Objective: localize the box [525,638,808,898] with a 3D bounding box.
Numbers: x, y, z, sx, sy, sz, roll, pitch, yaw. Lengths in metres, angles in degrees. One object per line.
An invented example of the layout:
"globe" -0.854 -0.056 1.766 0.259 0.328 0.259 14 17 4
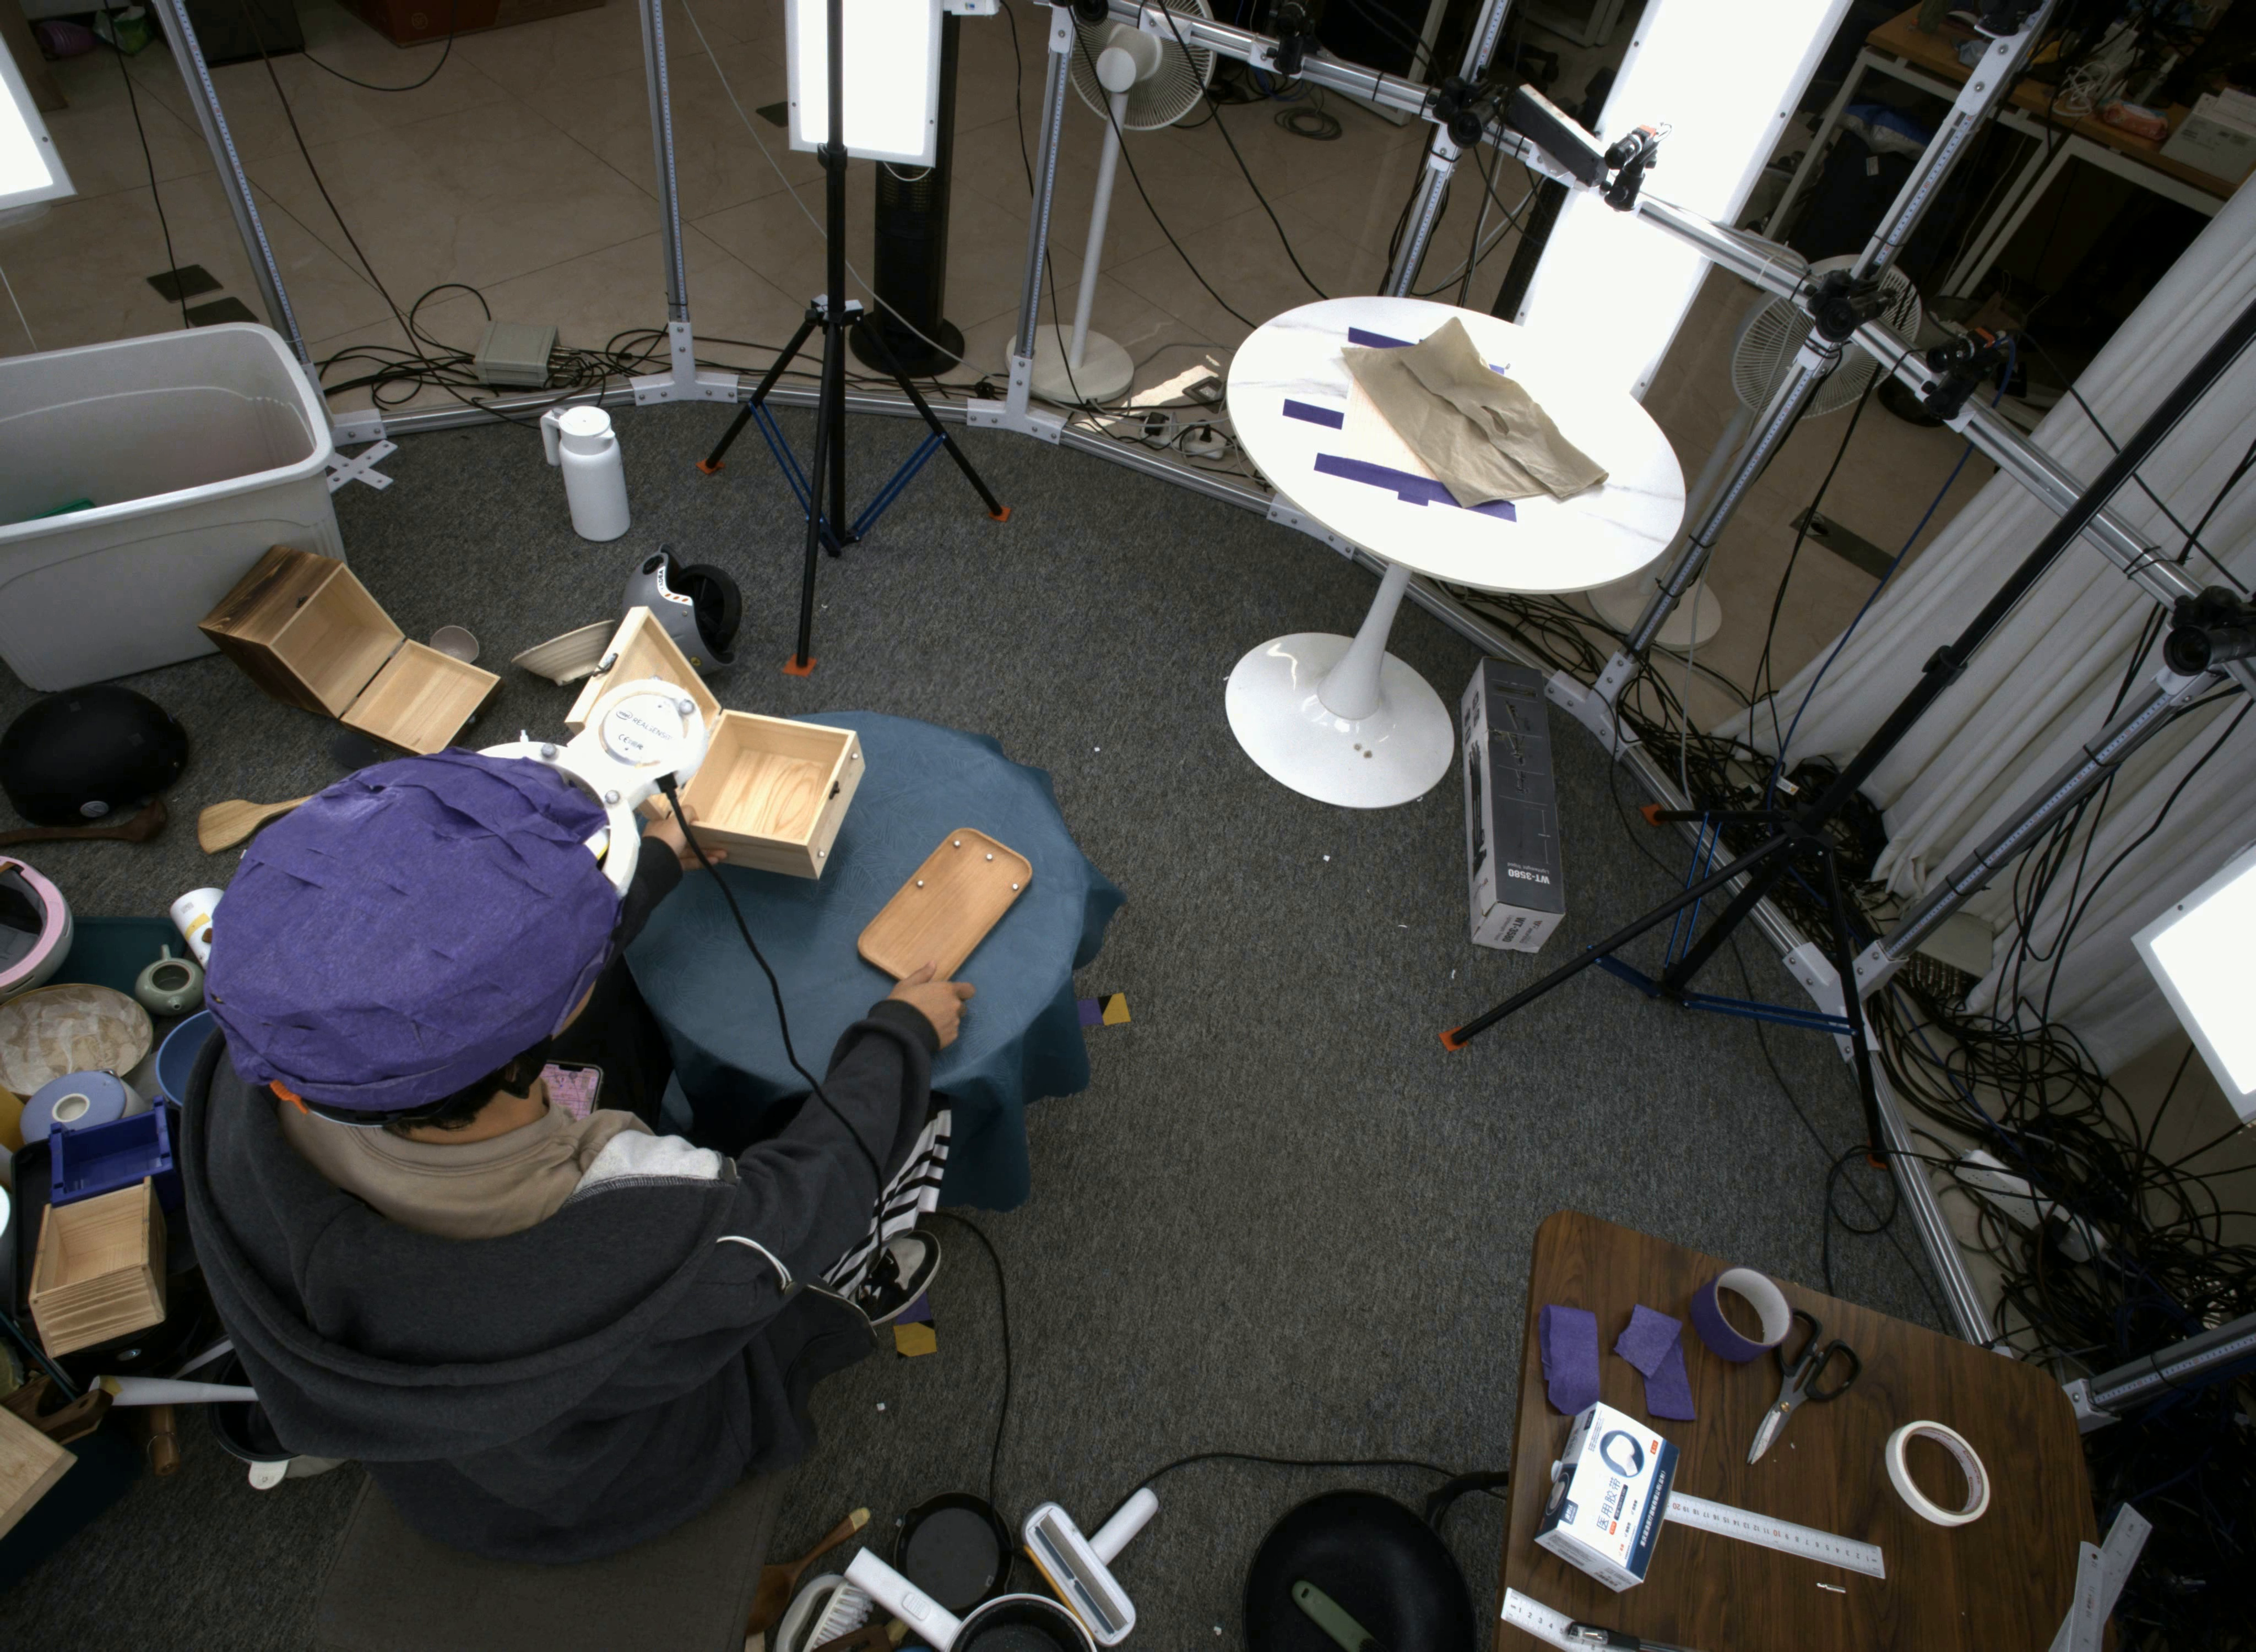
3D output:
"box" -0.549 -0.071 1.518 0.261 0.260 0.179 5 58 5

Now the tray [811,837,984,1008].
"tray" -0.291 0.119 1.663 0.128 0.023 0.249 26 52 9
